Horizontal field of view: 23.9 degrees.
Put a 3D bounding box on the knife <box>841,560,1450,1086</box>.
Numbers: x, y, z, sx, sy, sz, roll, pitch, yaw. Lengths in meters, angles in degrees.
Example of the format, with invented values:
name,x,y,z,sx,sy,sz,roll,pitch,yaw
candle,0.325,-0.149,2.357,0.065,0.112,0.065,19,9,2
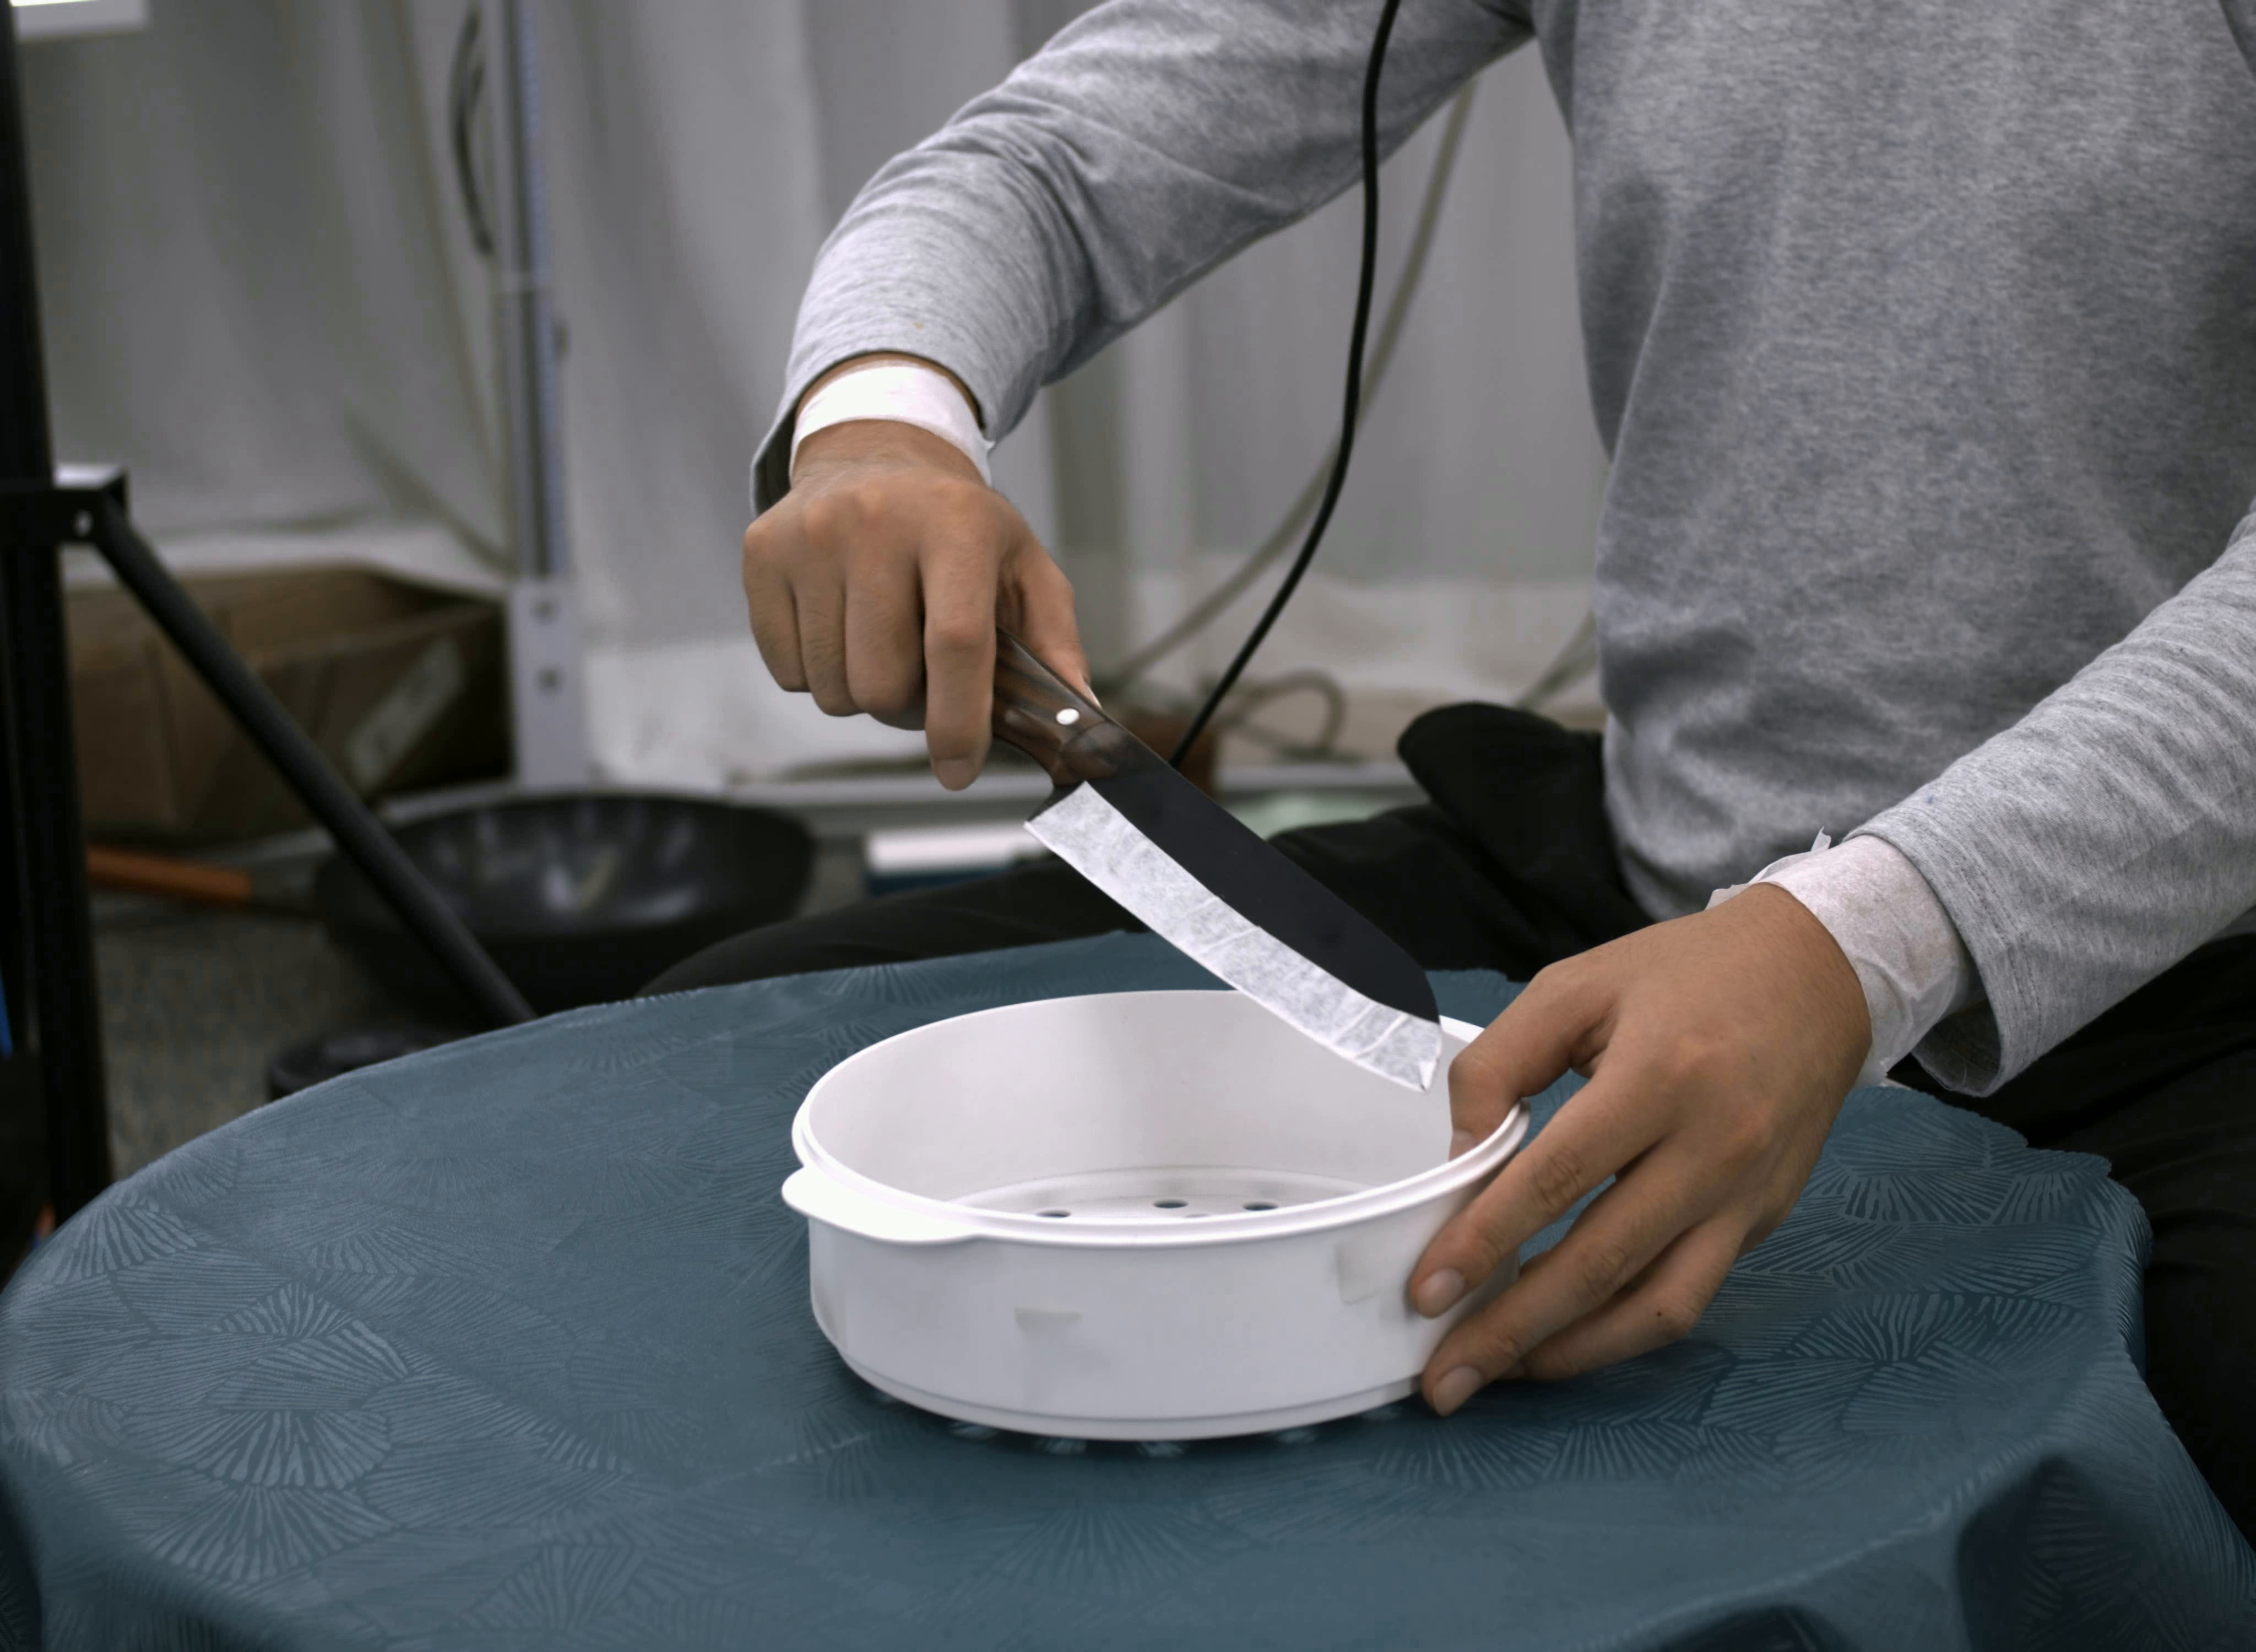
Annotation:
name,x,y,z,sx,sy,sz,roll,pitch,yaw
knife,0.002,-0.003,1.510,0.050,0.020,0.296,-34,45,-16

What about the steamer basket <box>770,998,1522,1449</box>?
name,x,y,z,sx,sy,sz,roll,pitch,yaw
steamer basket,0.007,0.108,1.441,0.225,0.069,0.206,-13,19,-37
